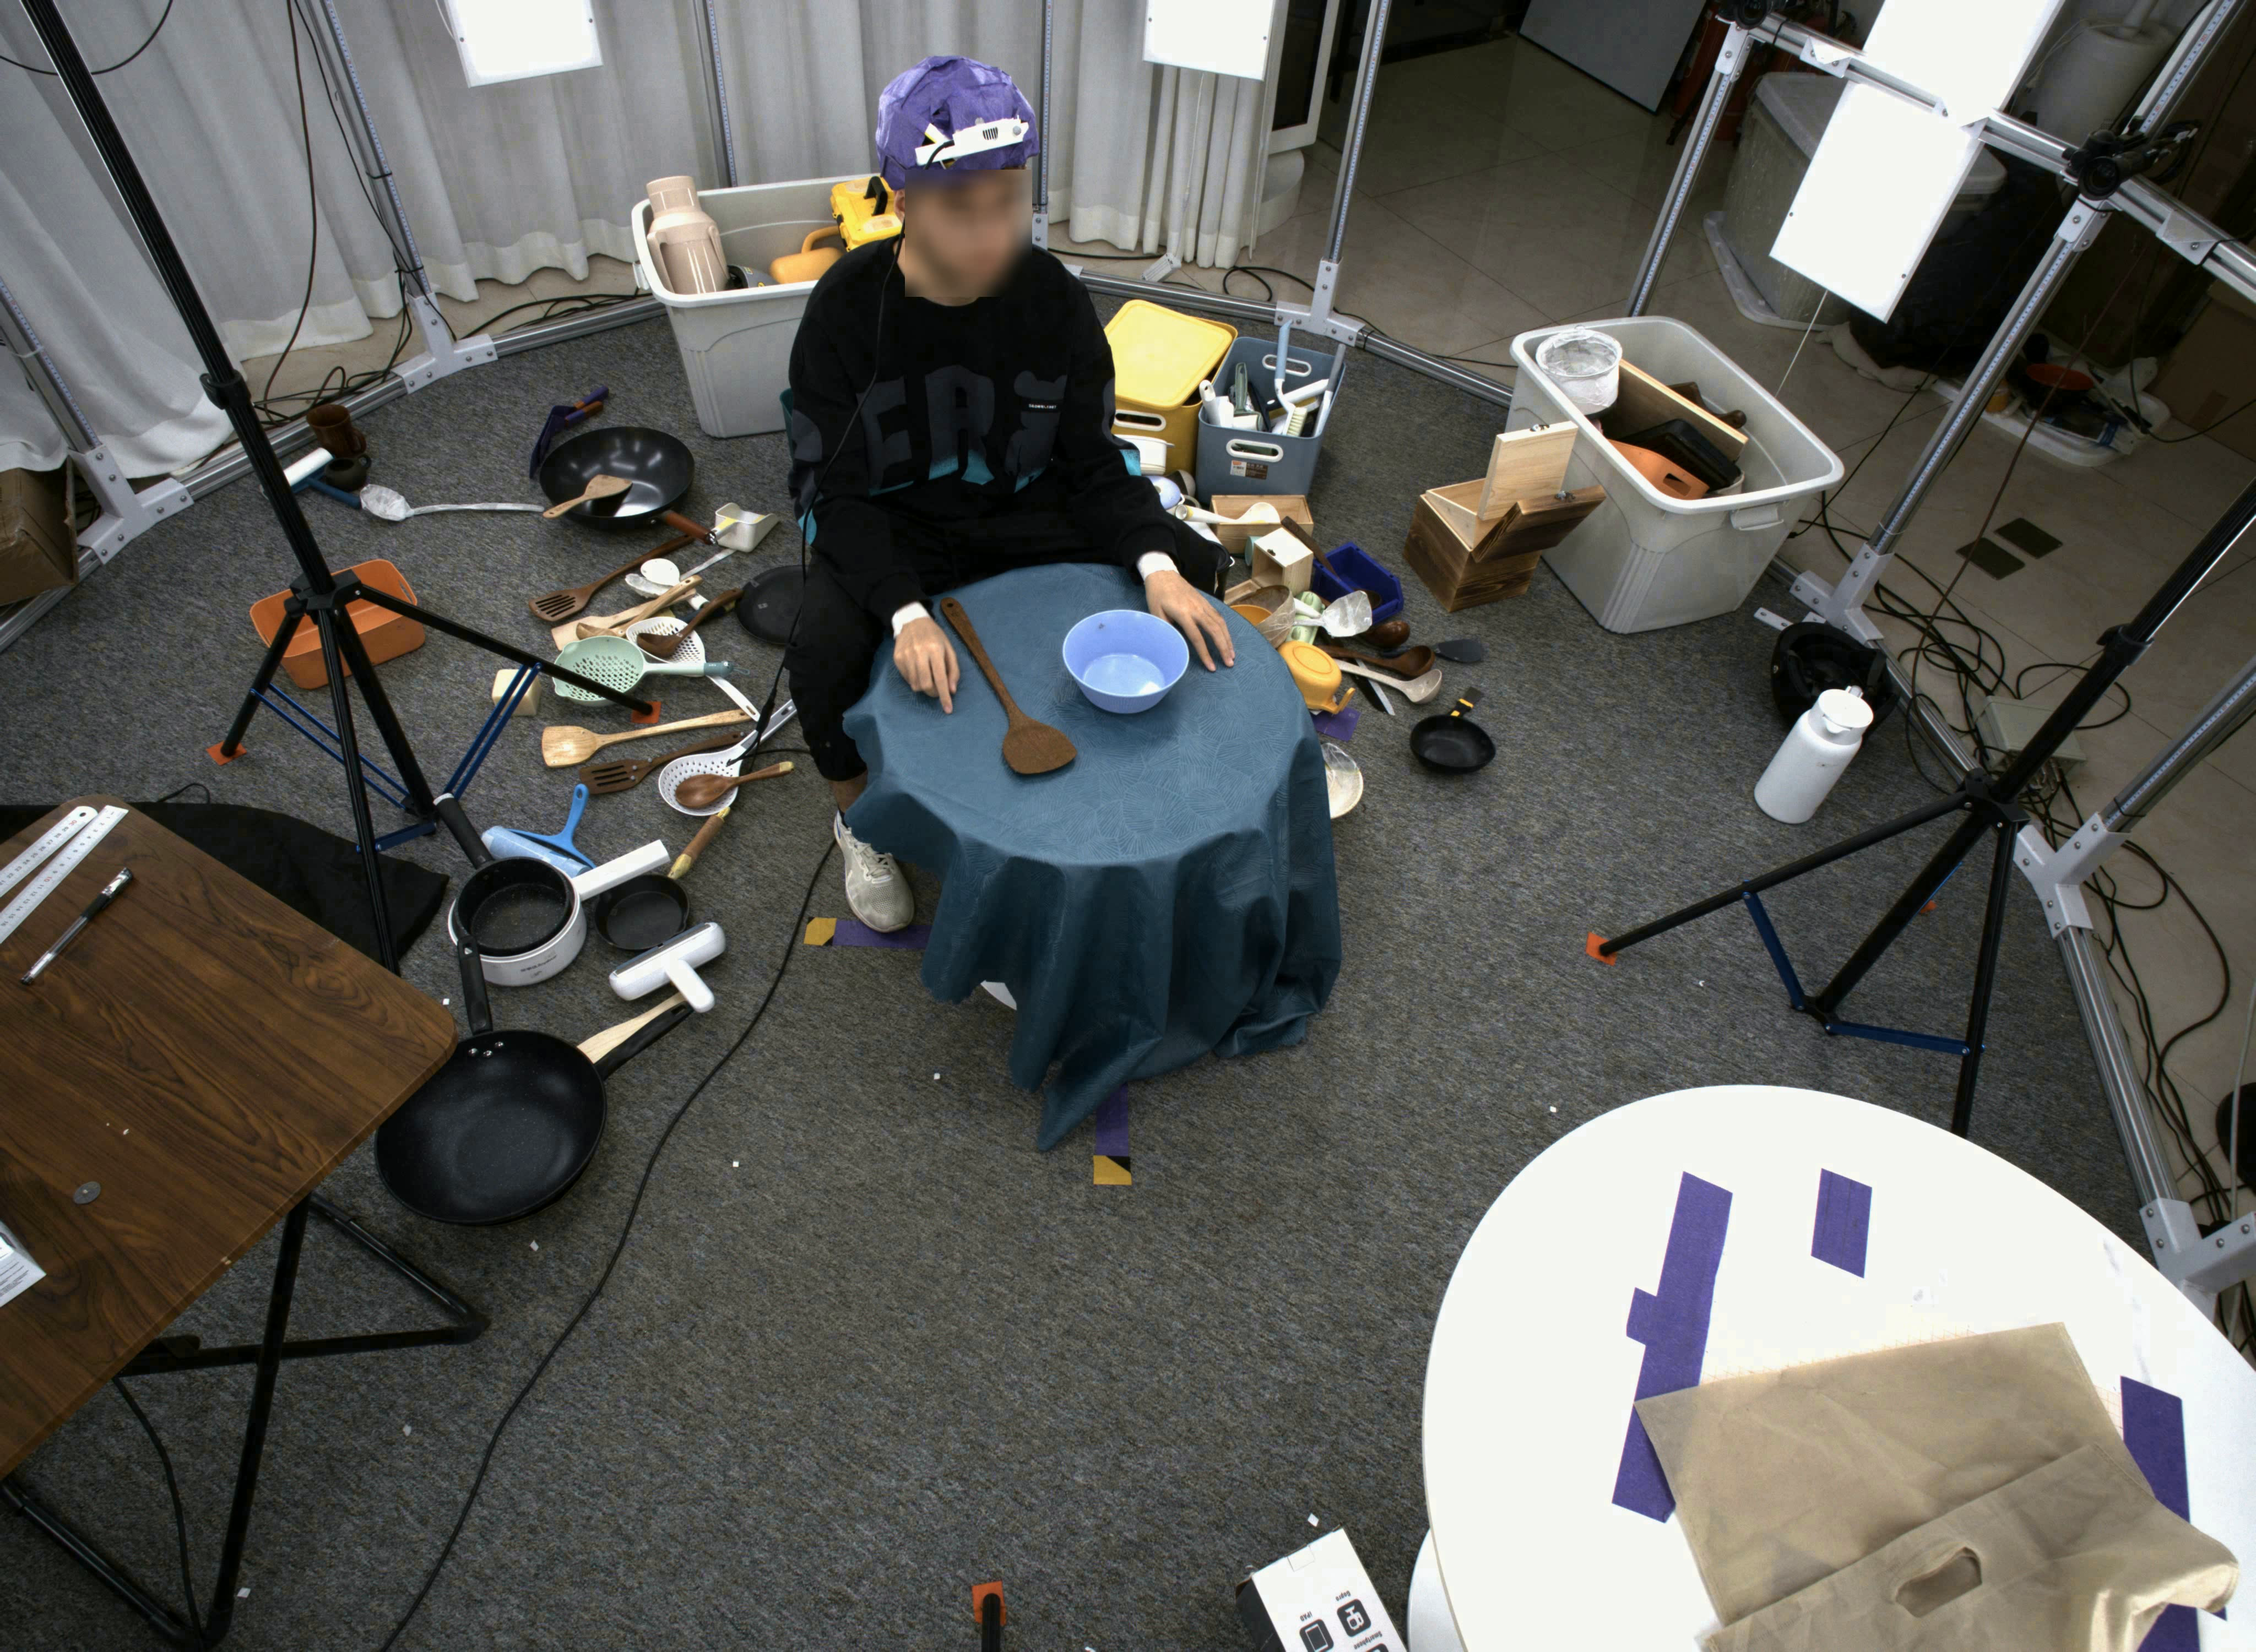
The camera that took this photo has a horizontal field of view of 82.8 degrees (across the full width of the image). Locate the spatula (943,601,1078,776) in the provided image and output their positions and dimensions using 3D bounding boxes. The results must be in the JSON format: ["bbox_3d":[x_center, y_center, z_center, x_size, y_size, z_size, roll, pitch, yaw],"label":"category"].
[{"bbox_3d":[-0.188,-0.207,1.844,0.096,0.015,0.394,-18,52,-19],"label":"spatula"}]

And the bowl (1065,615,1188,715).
[{"bbox_3d":[-0.004,-0.221,1.832,0.176,0.068,0.180,2,47,-2],"label":"bowl"}]
